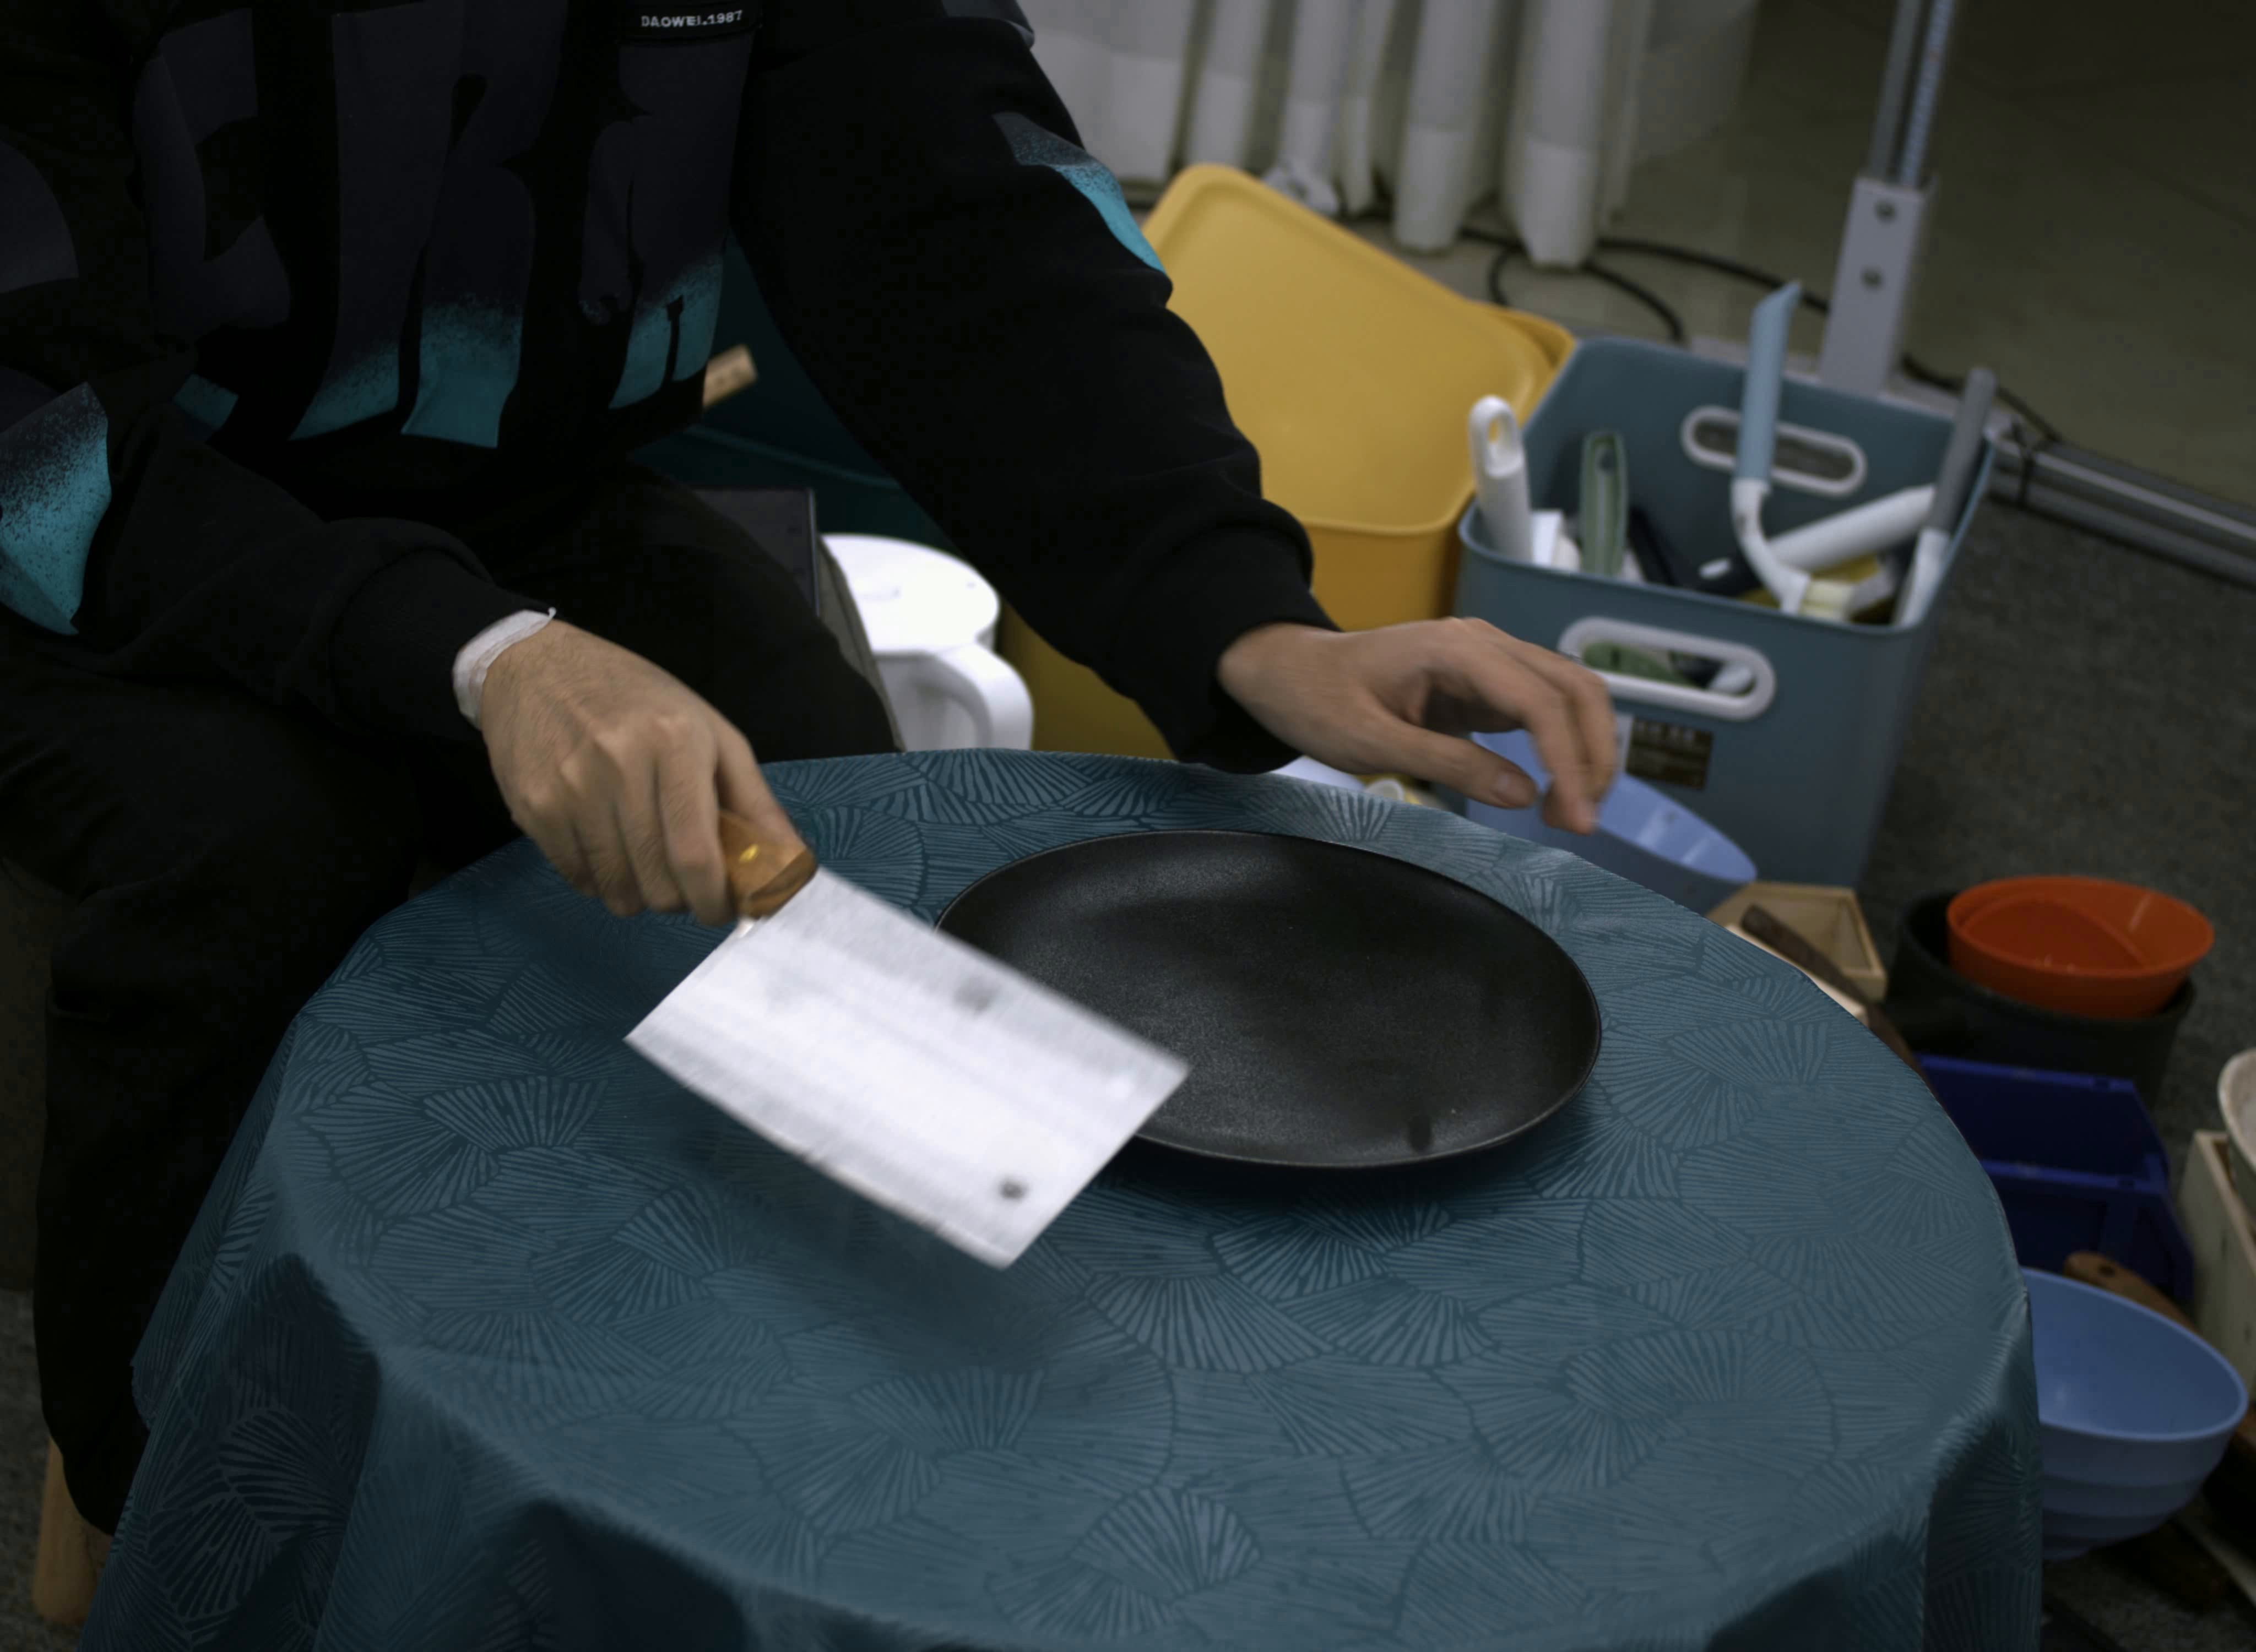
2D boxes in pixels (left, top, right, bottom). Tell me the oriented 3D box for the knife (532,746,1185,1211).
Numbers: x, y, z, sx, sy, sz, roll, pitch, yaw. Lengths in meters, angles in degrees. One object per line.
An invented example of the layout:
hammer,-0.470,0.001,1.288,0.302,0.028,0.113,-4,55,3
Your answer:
knife,-0.111,0.052,1.782,0.308,0.021,0.093,26,65,40

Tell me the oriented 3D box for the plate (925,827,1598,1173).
plate,0.046,0.067,1.897,0.243,0.023,0.246,5,27,-3
